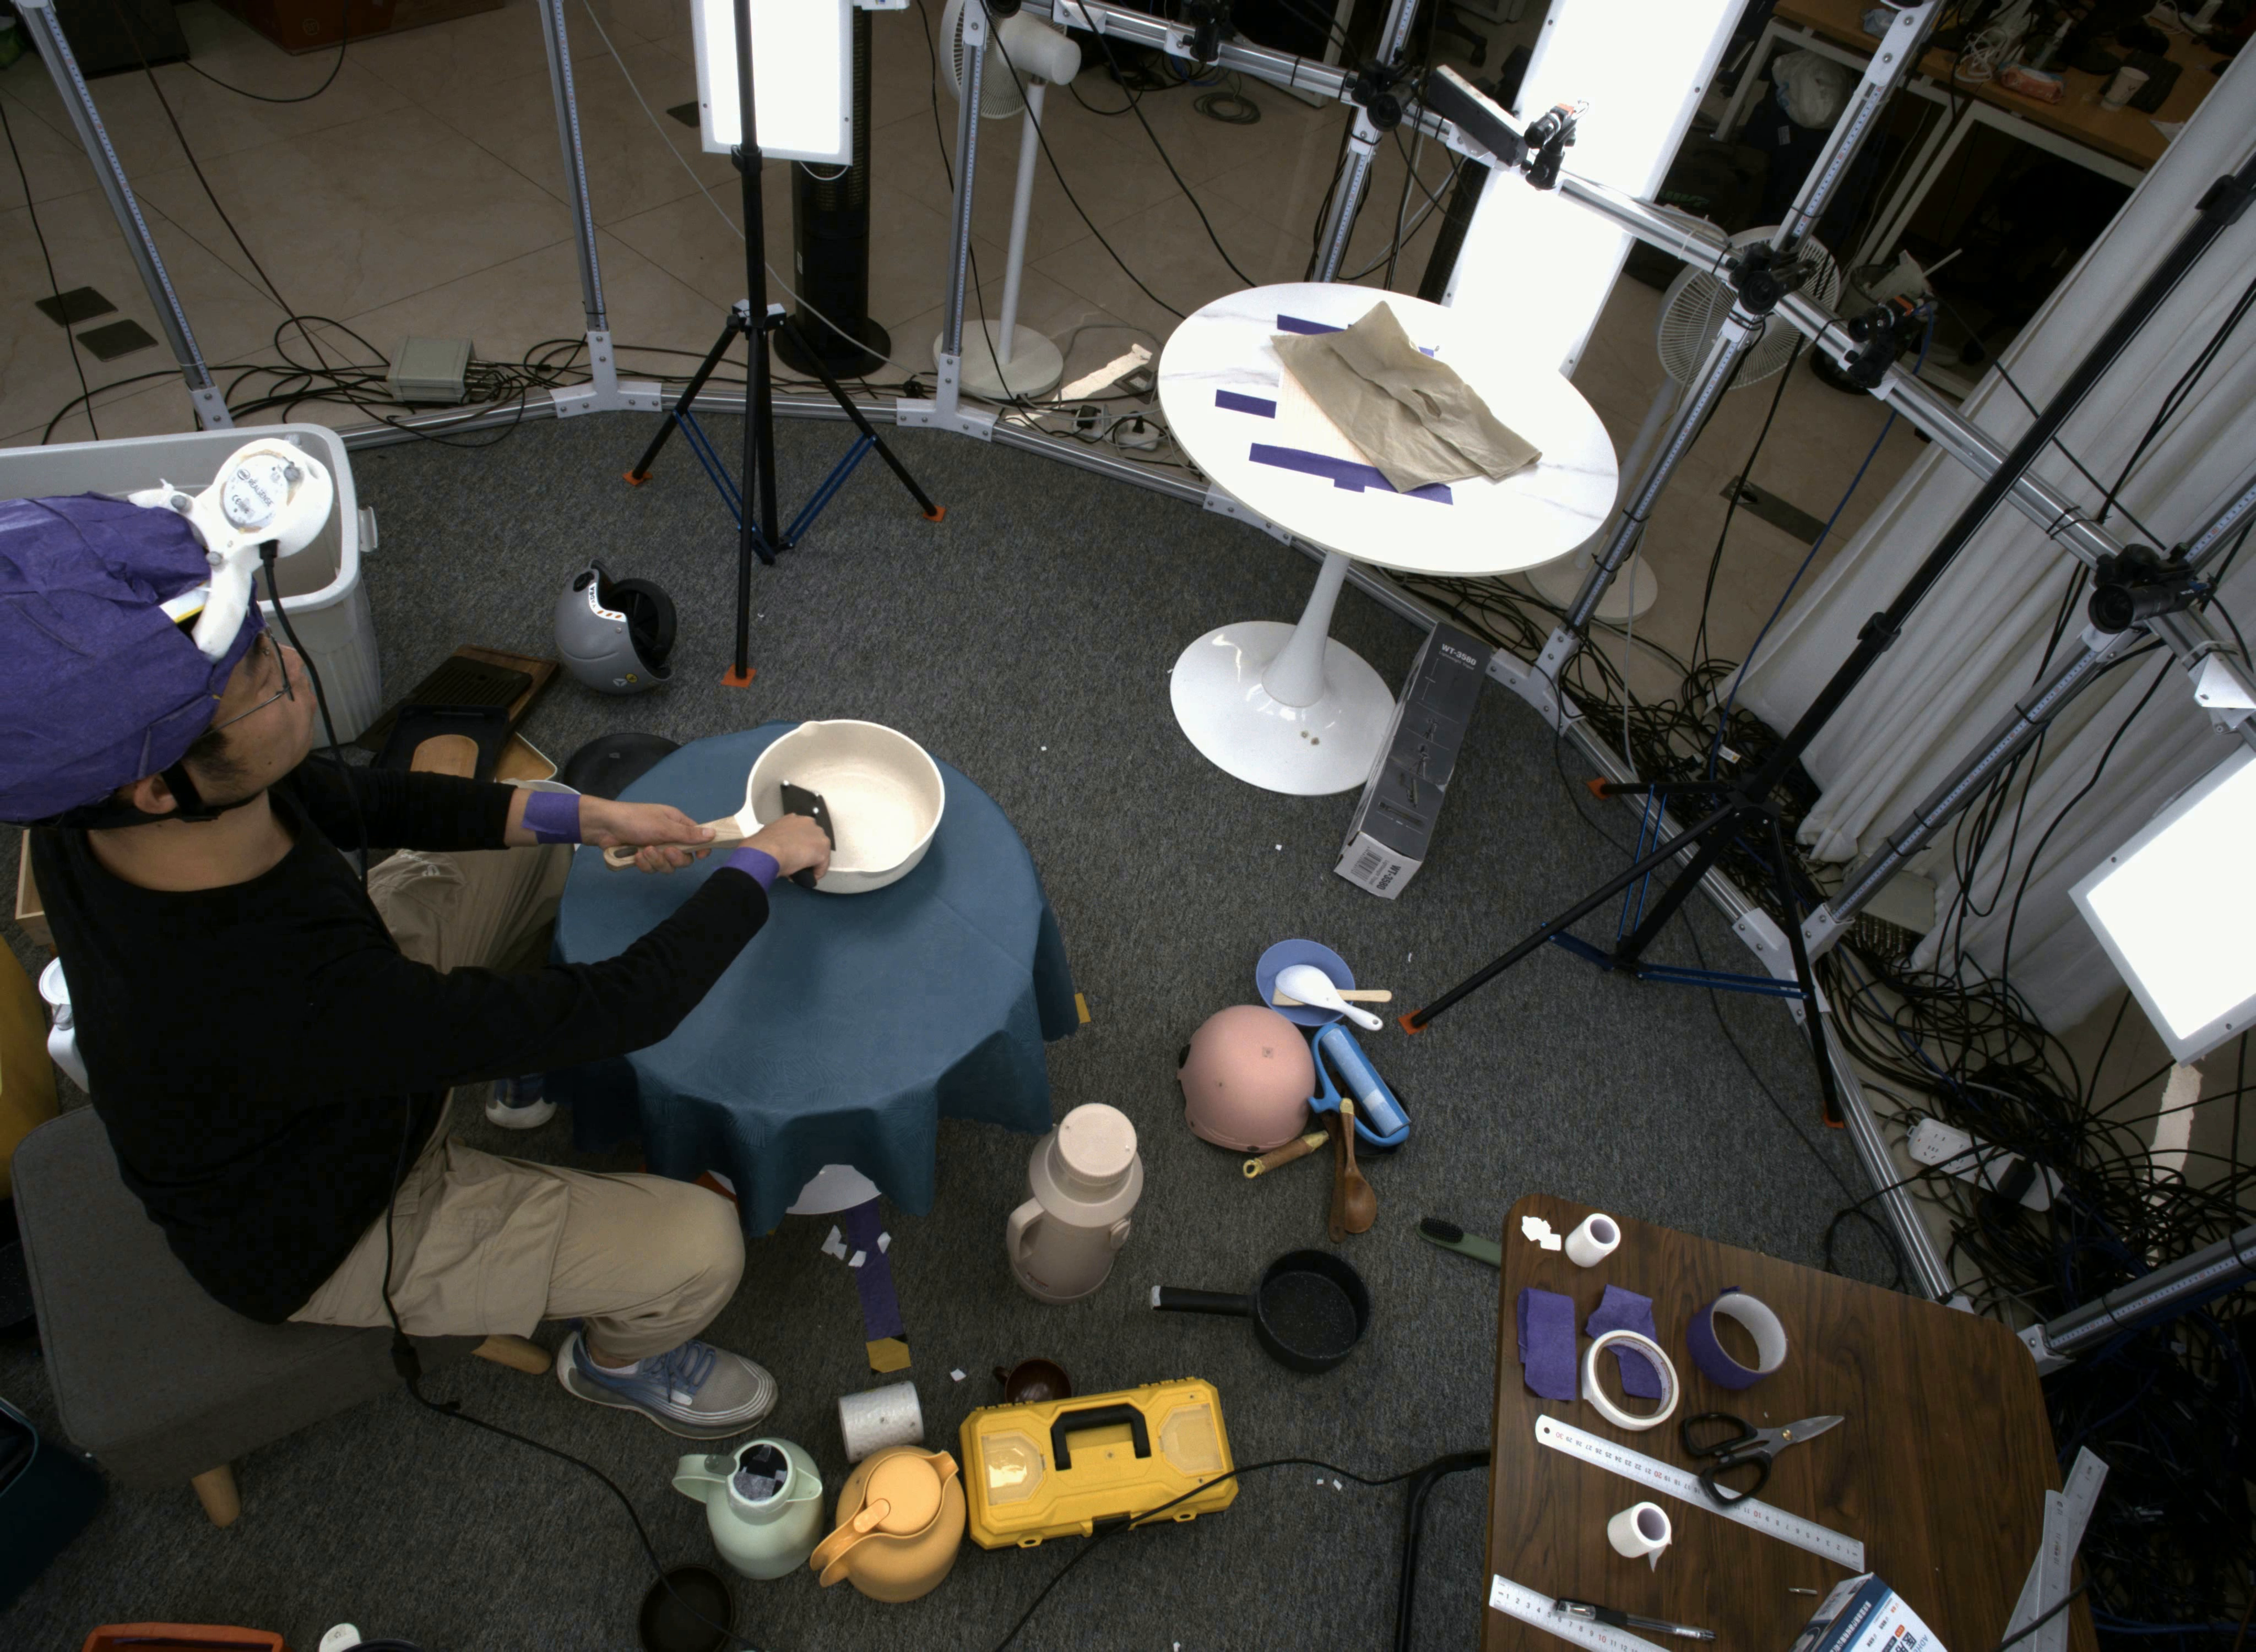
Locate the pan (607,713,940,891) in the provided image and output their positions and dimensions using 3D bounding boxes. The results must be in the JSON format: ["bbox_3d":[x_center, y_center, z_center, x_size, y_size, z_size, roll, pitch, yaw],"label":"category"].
[{"bbox_3d":[-0.448,0.001,1.651,0.437,0.104,0.257,-22,63,-27],"label":"pan"}]

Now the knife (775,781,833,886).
[{"bbox_3d":[-0.403,0.005,1.607,0.082,0.021,0.294,23,15,-20],"label":"knife"}]
